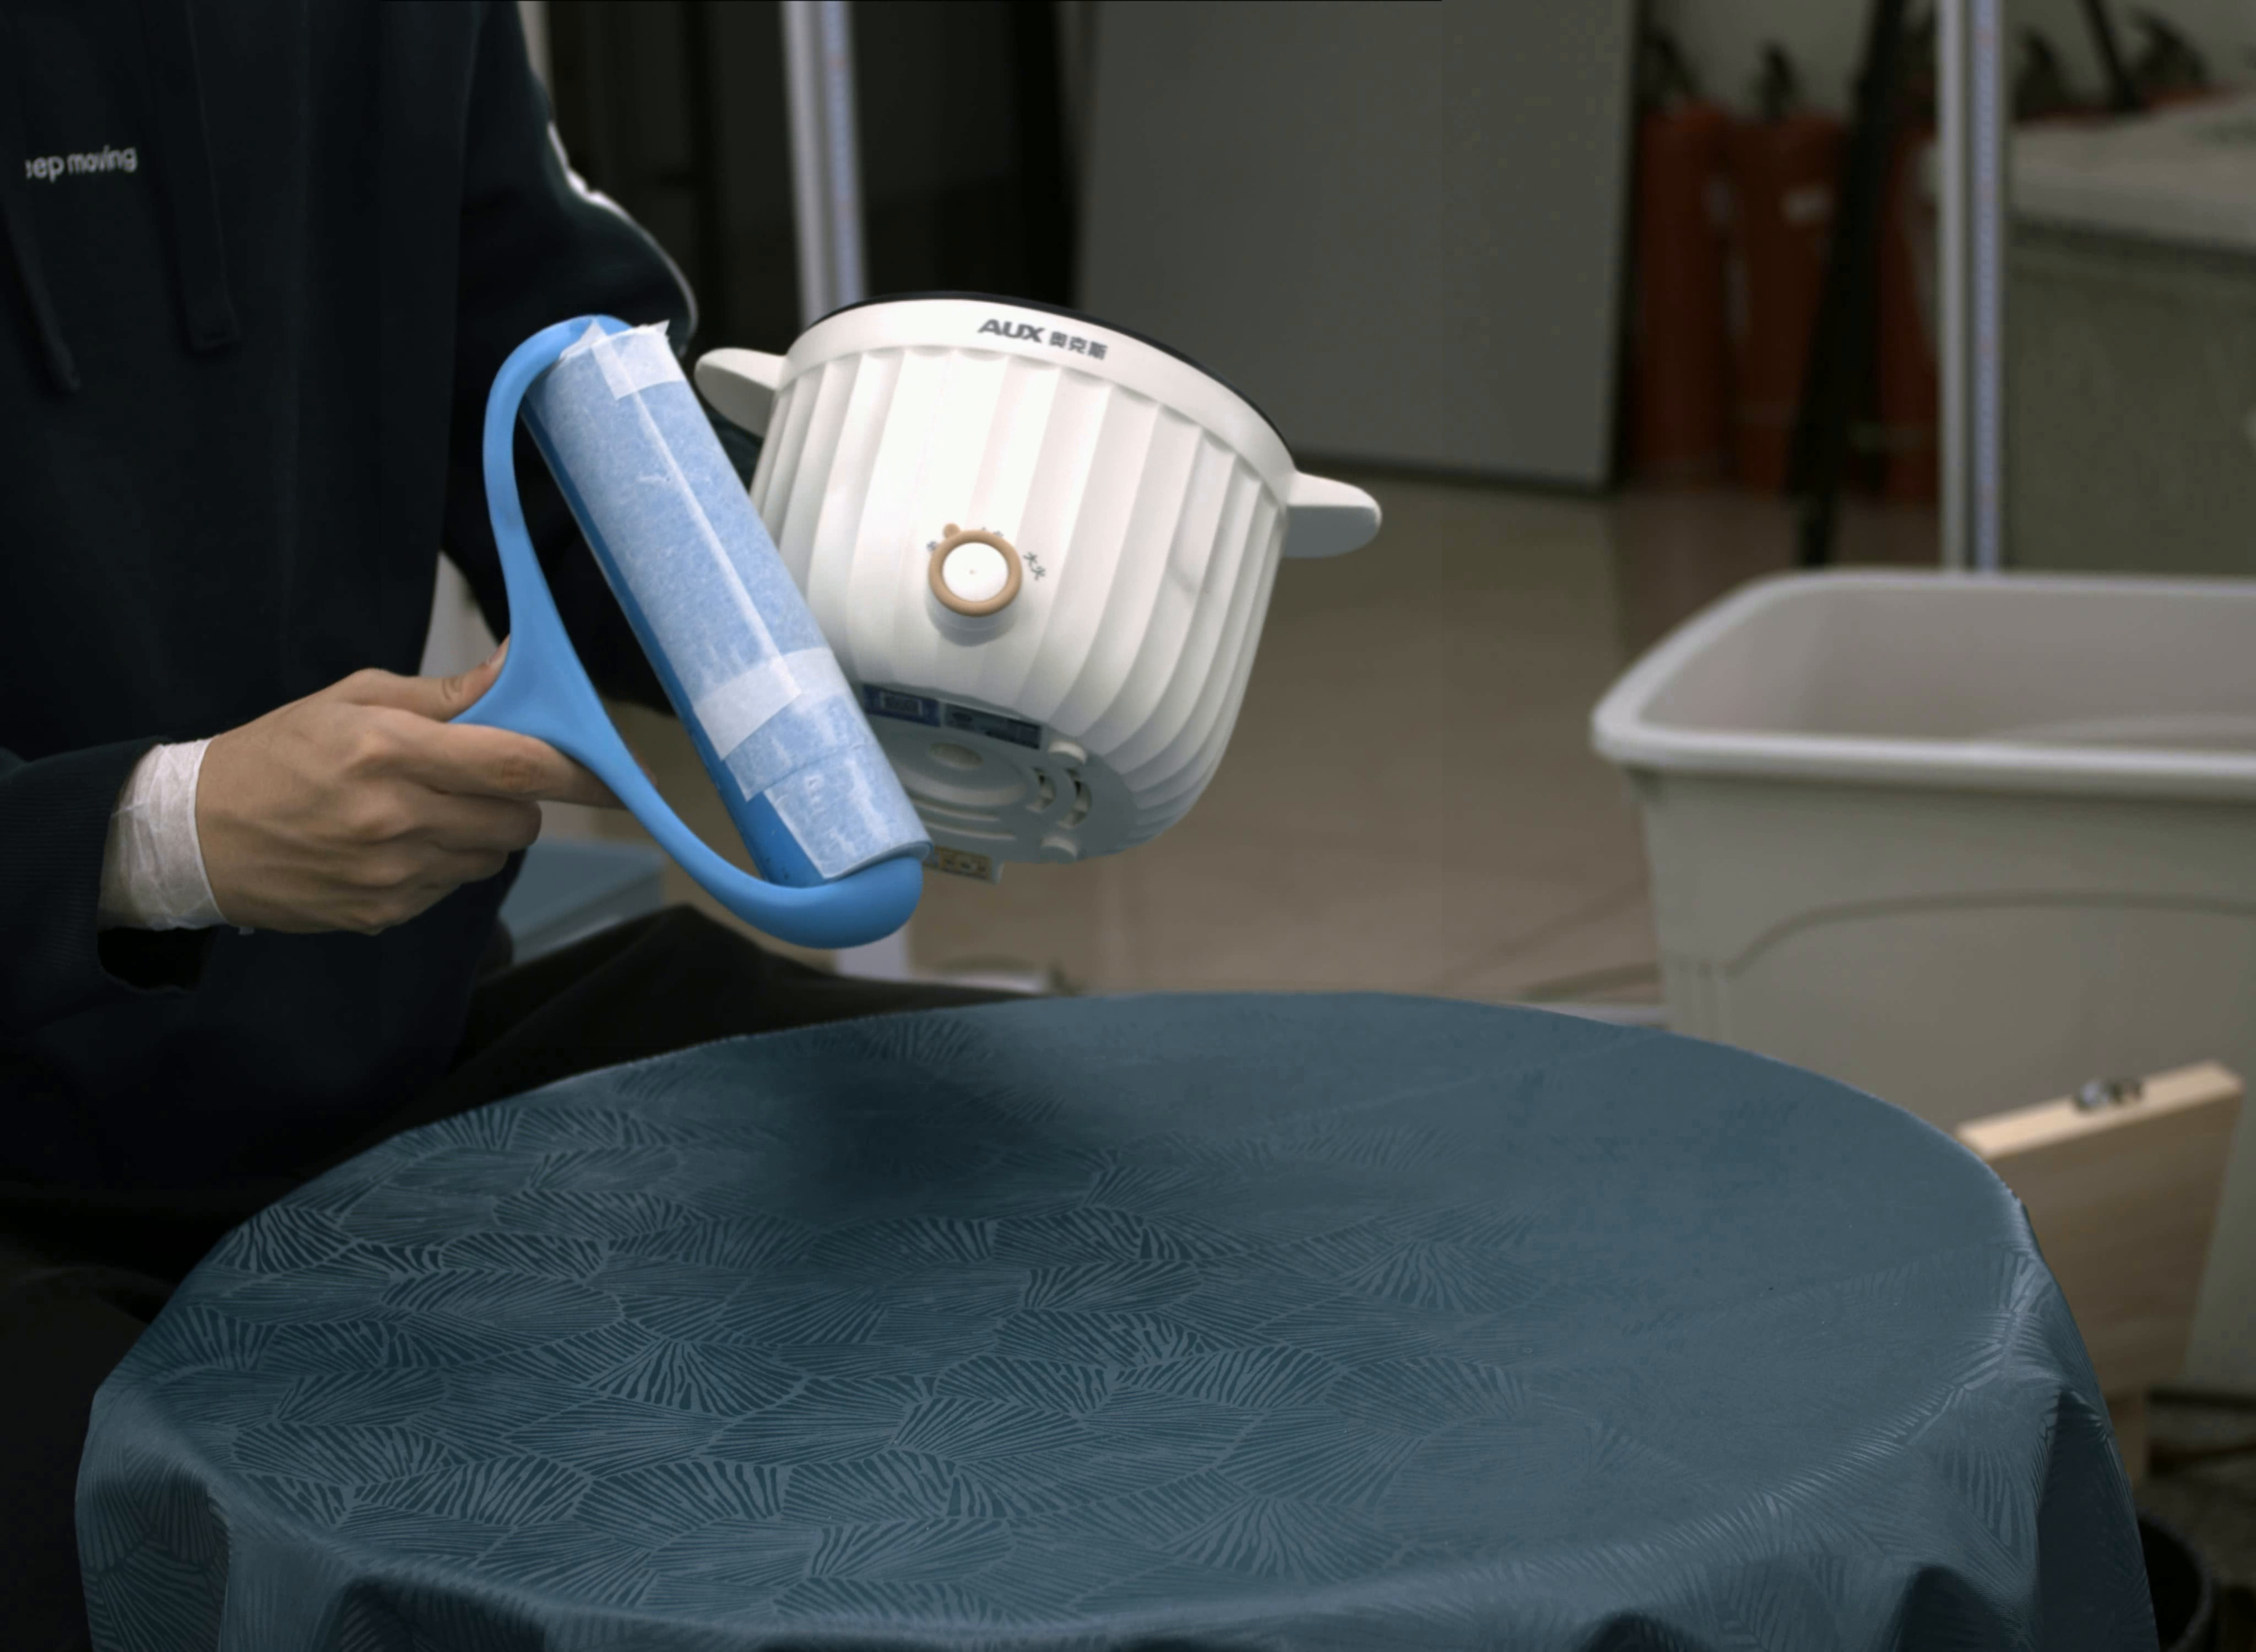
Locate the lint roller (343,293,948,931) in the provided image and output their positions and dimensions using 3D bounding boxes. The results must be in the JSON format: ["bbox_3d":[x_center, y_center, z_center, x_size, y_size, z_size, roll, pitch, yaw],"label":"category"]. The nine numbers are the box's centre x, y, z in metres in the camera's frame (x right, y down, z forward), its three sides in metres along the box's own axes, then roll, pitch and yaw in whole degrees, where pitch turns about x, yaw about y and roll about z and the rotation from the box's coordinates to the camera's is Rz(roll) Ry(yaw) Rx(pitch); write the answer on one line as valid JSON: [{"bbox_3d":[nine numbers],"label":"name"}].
[{"bbox_3d":[-0.176,-0.038,1.723,0.179,0.231,0.067,-32,-12,1],"label":"lint roller"}]

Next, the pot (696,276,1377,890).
[{"bbox_3d":[-0.042,-0.078,1.801,0.238,0.144,0.191,12,-28,3],"label":"pot"}]
